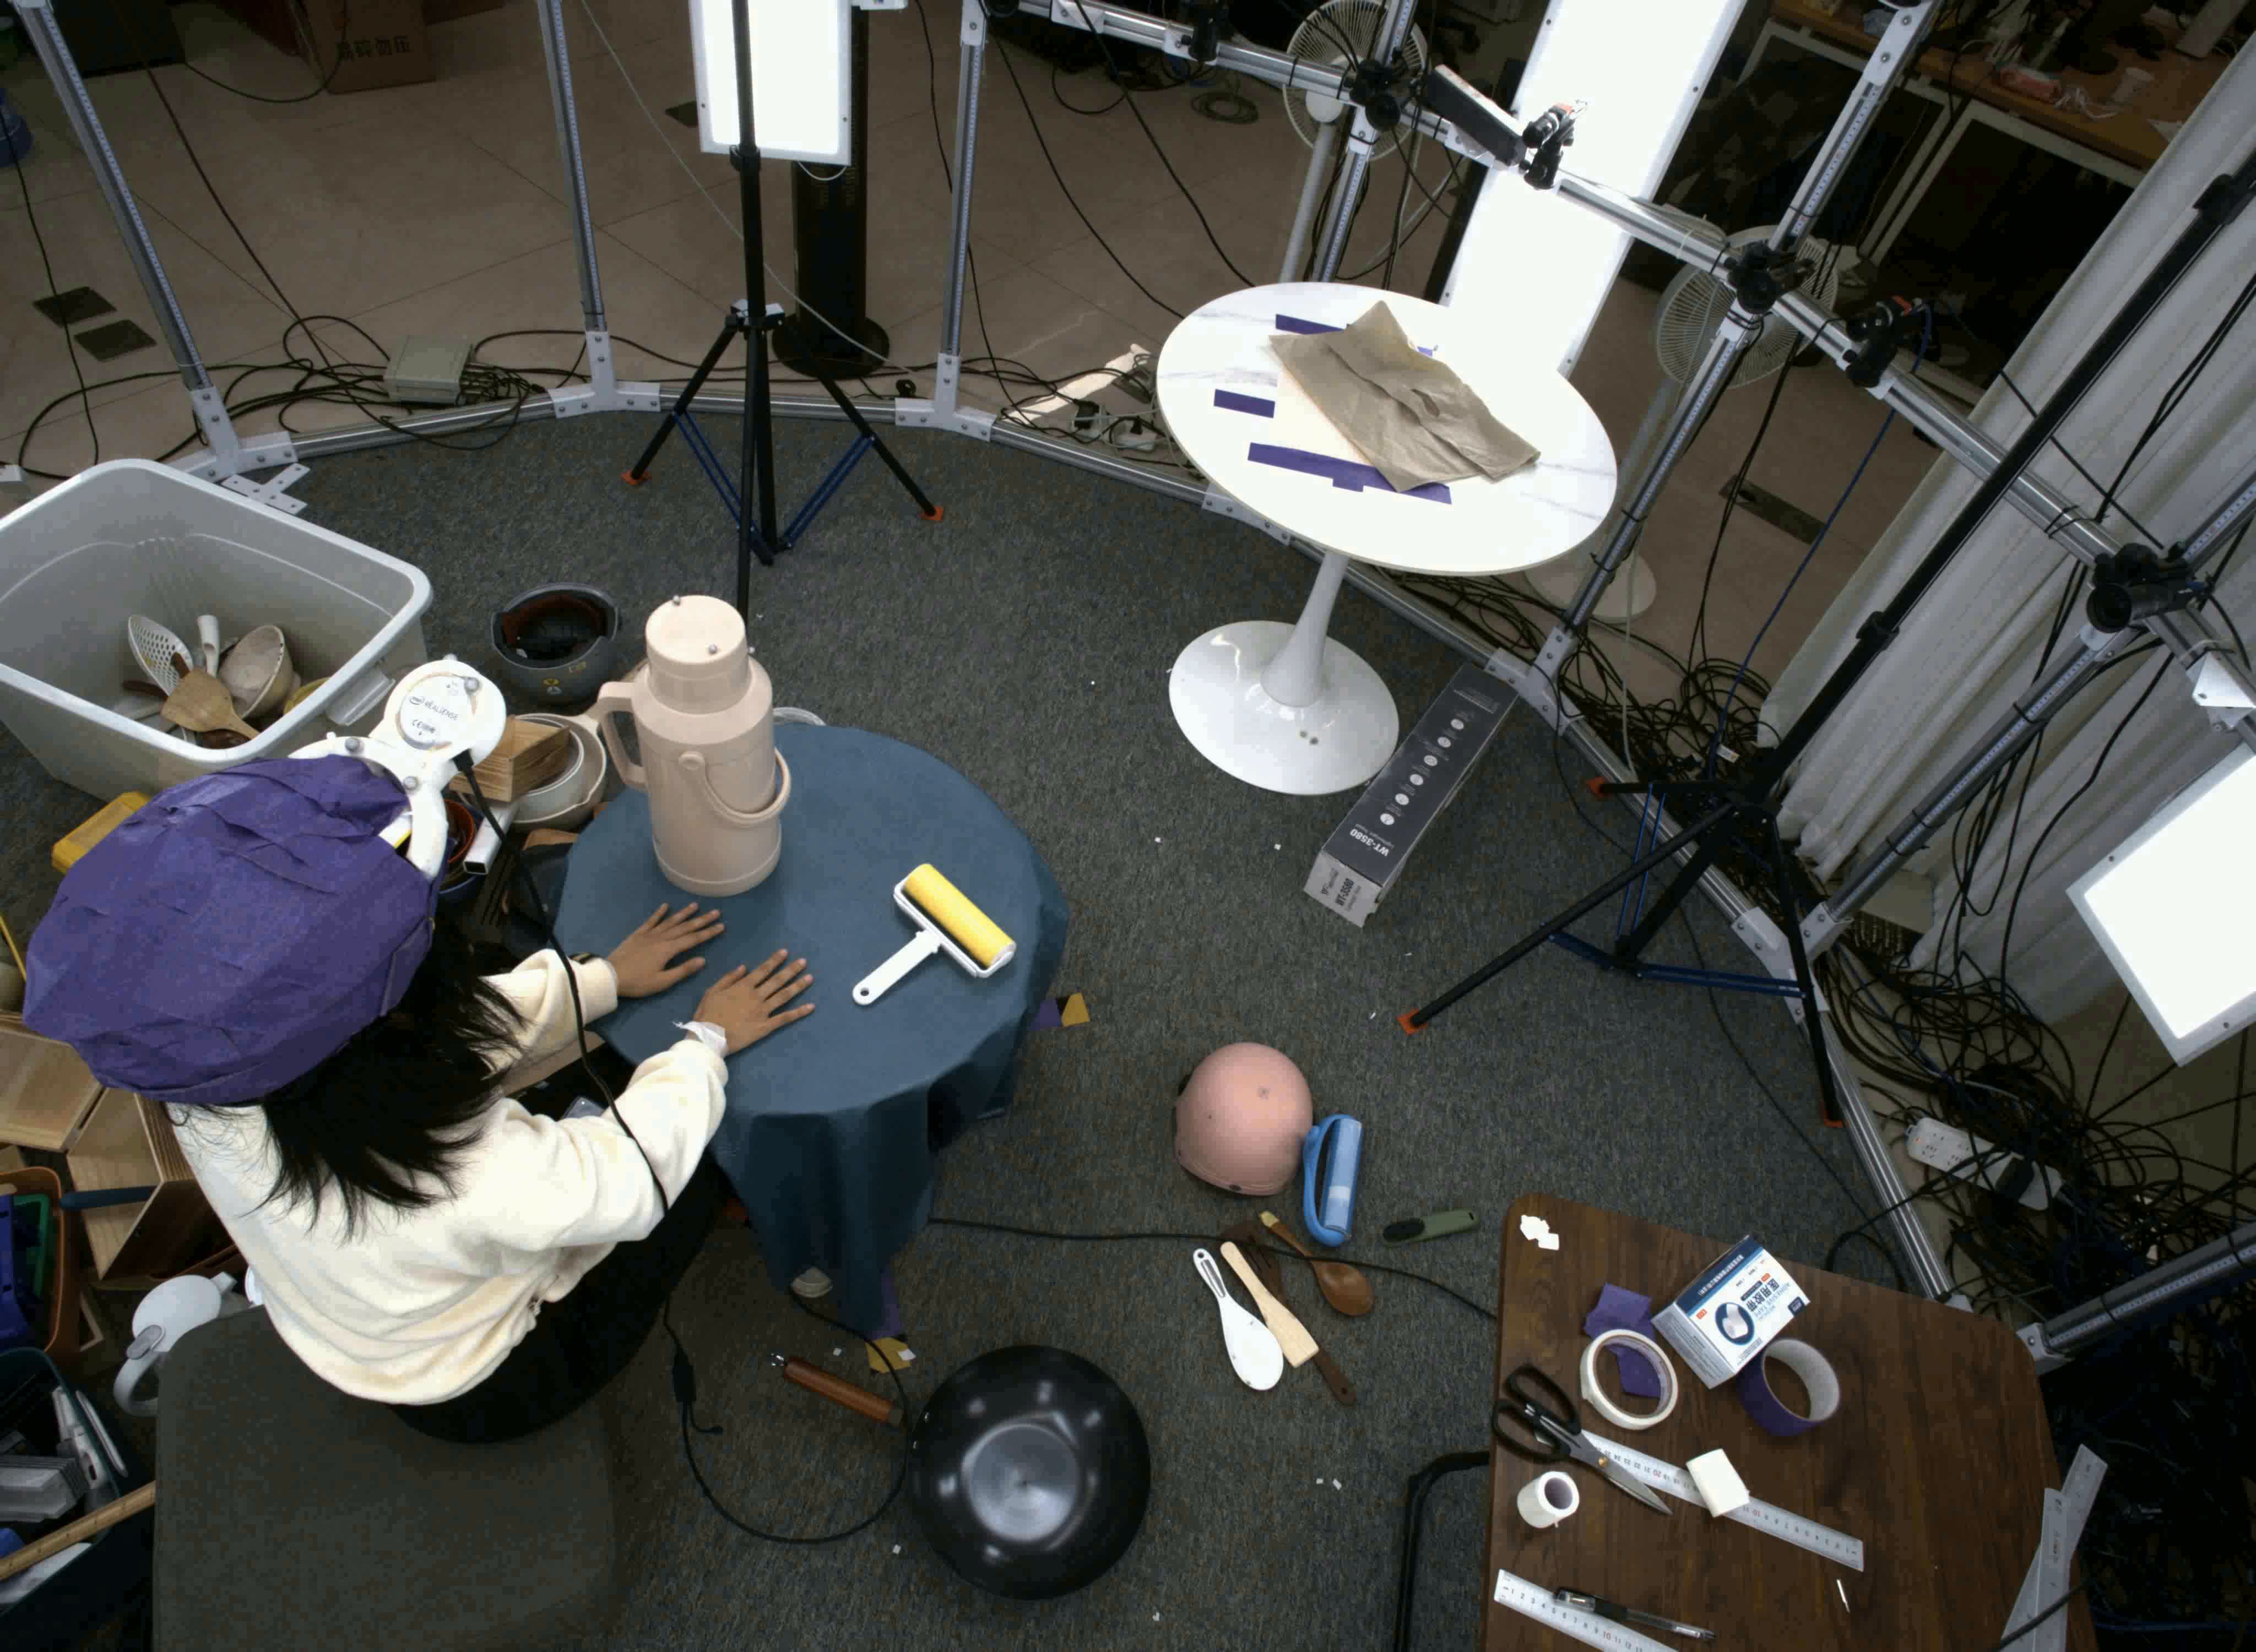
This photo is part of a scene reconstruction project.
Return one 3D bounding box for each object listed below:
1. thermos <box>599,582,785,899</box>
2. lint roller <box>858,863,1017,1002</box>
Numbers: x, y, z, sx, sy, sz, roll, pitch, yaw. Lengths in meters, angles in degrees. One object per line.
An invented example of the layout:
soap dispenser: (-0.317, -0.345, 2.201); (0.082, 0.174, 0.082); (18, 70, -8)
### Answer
thermos: (-0.512, -0.098, 1.513); (0.207, 0.415, 0.172); (2, 52, -10)
lint roller: (-0.259, 0.147, 1.617); (0.170, 0.052, 0.192); (39, 48, 16)
